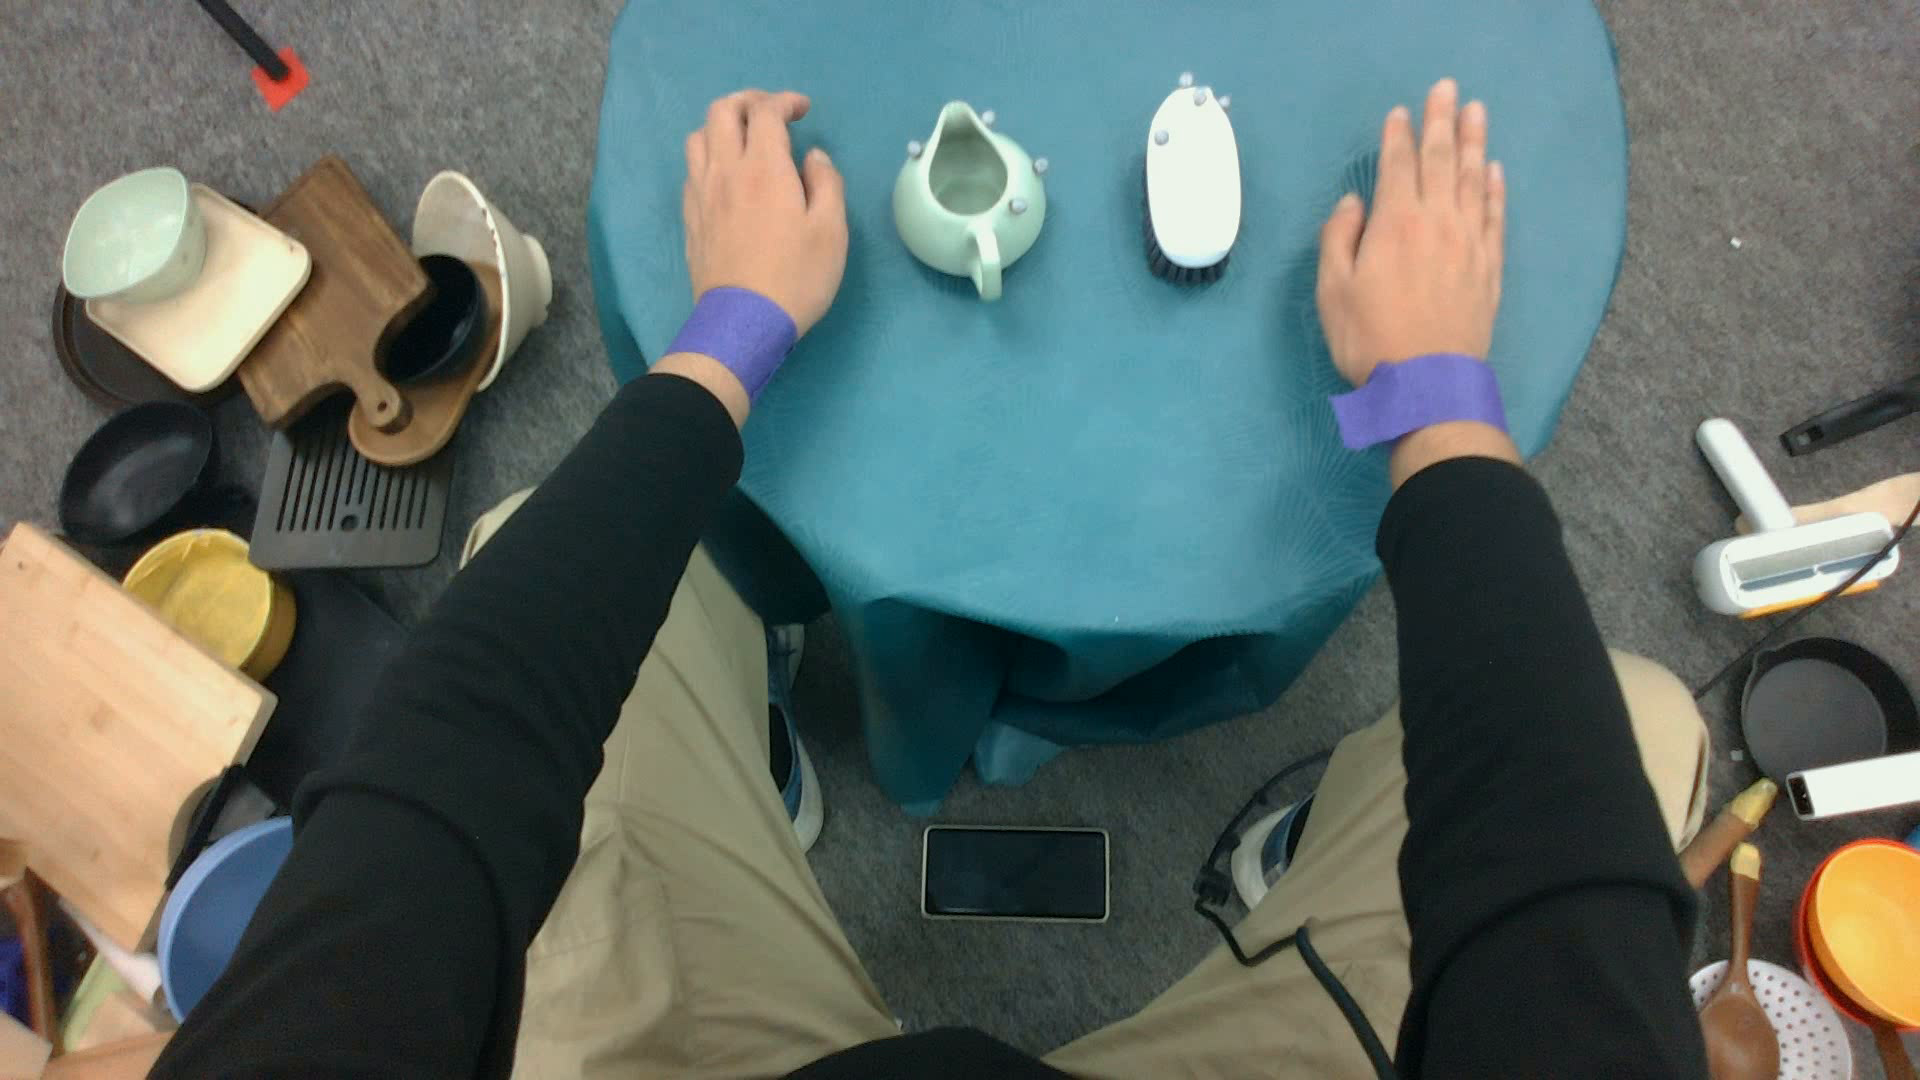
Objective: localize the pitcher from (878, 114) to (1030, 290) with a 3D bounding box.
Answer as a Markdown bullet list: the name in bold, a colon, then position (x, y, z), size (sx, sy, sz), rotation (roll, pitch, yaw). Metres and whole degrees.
- **pitcher**: position (-0.001, -0.177, 0.757), size (0.086, 0.060, 0.108), rotation (5, 58, -9)

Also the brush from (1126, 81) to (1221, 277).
- **brush**: position (0.119, -0.205, 0.758), size (0.050, 0.072, 0.099), rotation (-1, 74, 2)
